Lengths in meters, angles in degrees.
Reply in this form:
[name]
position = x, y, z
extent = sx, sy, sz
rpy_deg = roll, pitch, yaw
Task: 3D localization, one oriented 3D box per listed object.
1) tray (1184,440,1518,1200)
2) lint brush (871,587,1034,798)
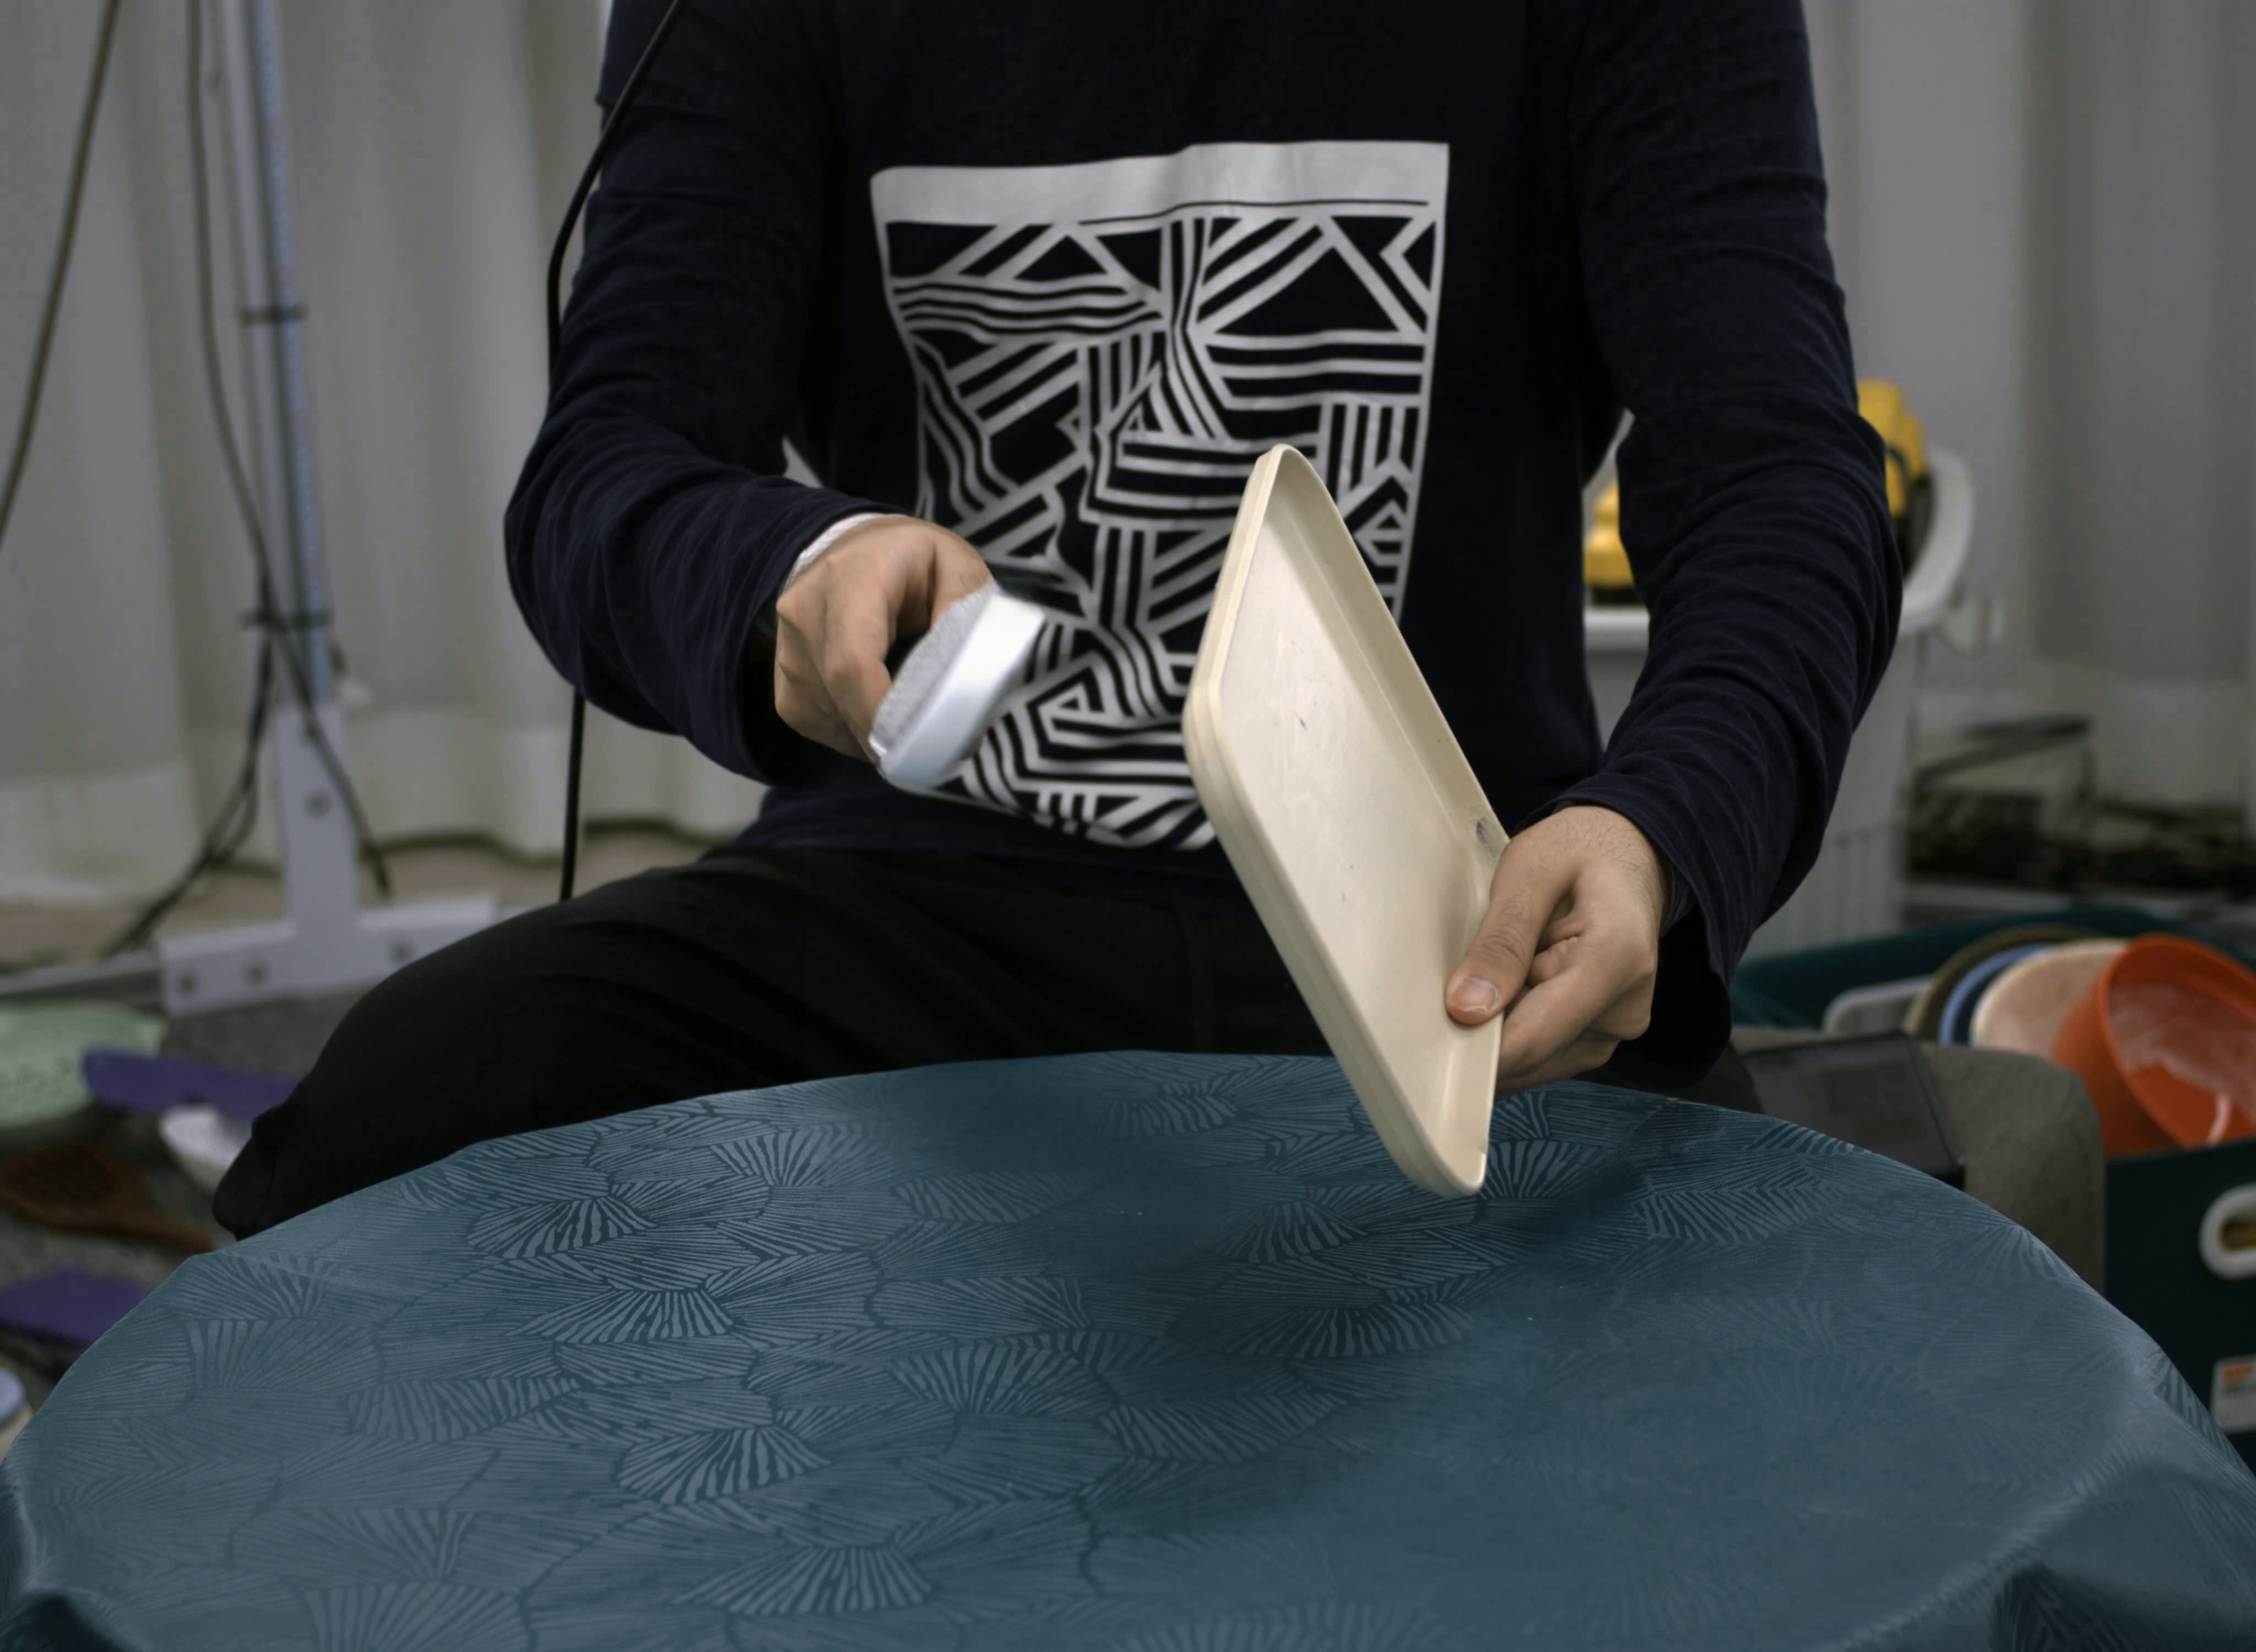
[tray]
position = 0.066, -0.004, 1.592
extent = 0.017, 0.170, 0.242
rpy_deg = -24, 19, 17
[lint brush]
position = -0.057, -0.044, 1.646
extent = 0.021, 0.060, 0.309
rpy_deg = 29, 0, -7
